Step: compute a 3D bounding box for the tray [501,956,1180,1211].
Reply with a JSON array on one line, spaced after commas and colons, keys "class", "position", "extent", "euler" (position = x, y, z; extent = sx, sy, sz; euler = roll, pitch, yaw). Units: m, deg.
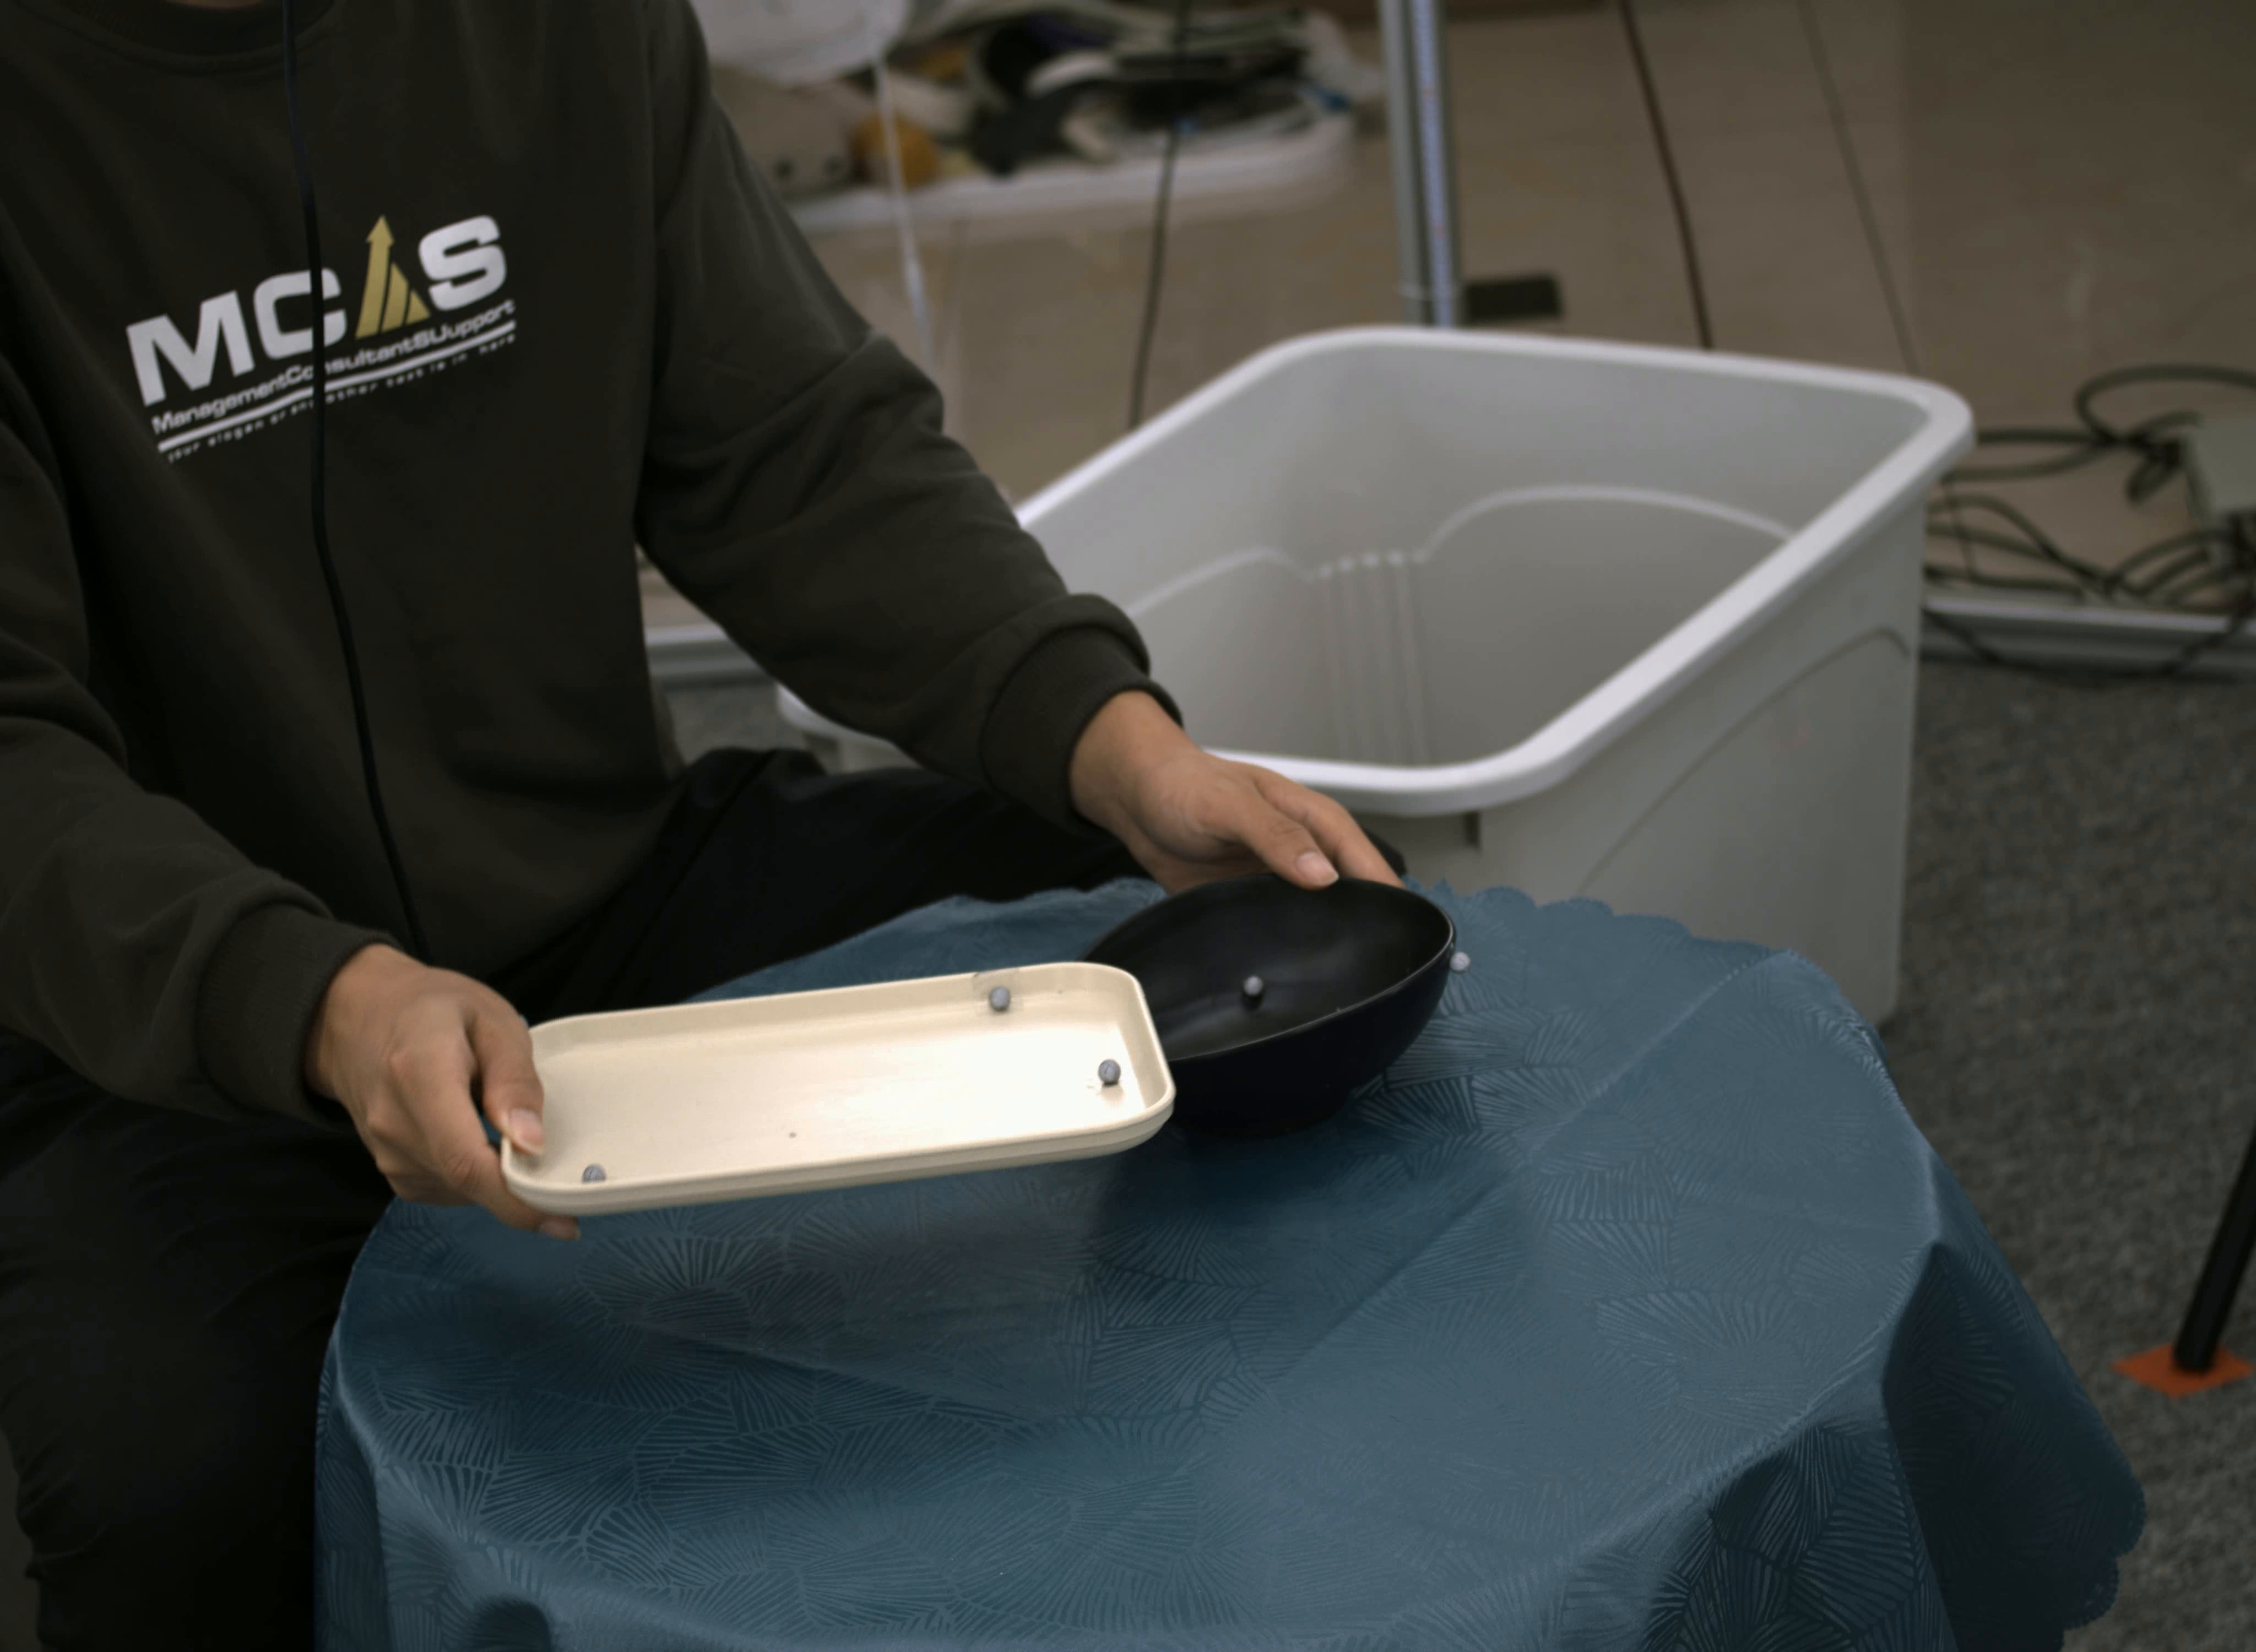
[{"class": "tray", "position": [-0.106, 0.093, 2.052], "extent": [0.239, 0.018, 0.169], "euler": [-6, 20, -5]}]

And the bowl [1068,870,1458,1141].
[{"class": "bowl", "position": [0.052, 0.078, 2.192], "extent": [0.169, 0.068, 0.136], "euler": [-24, 29, -30]}]
